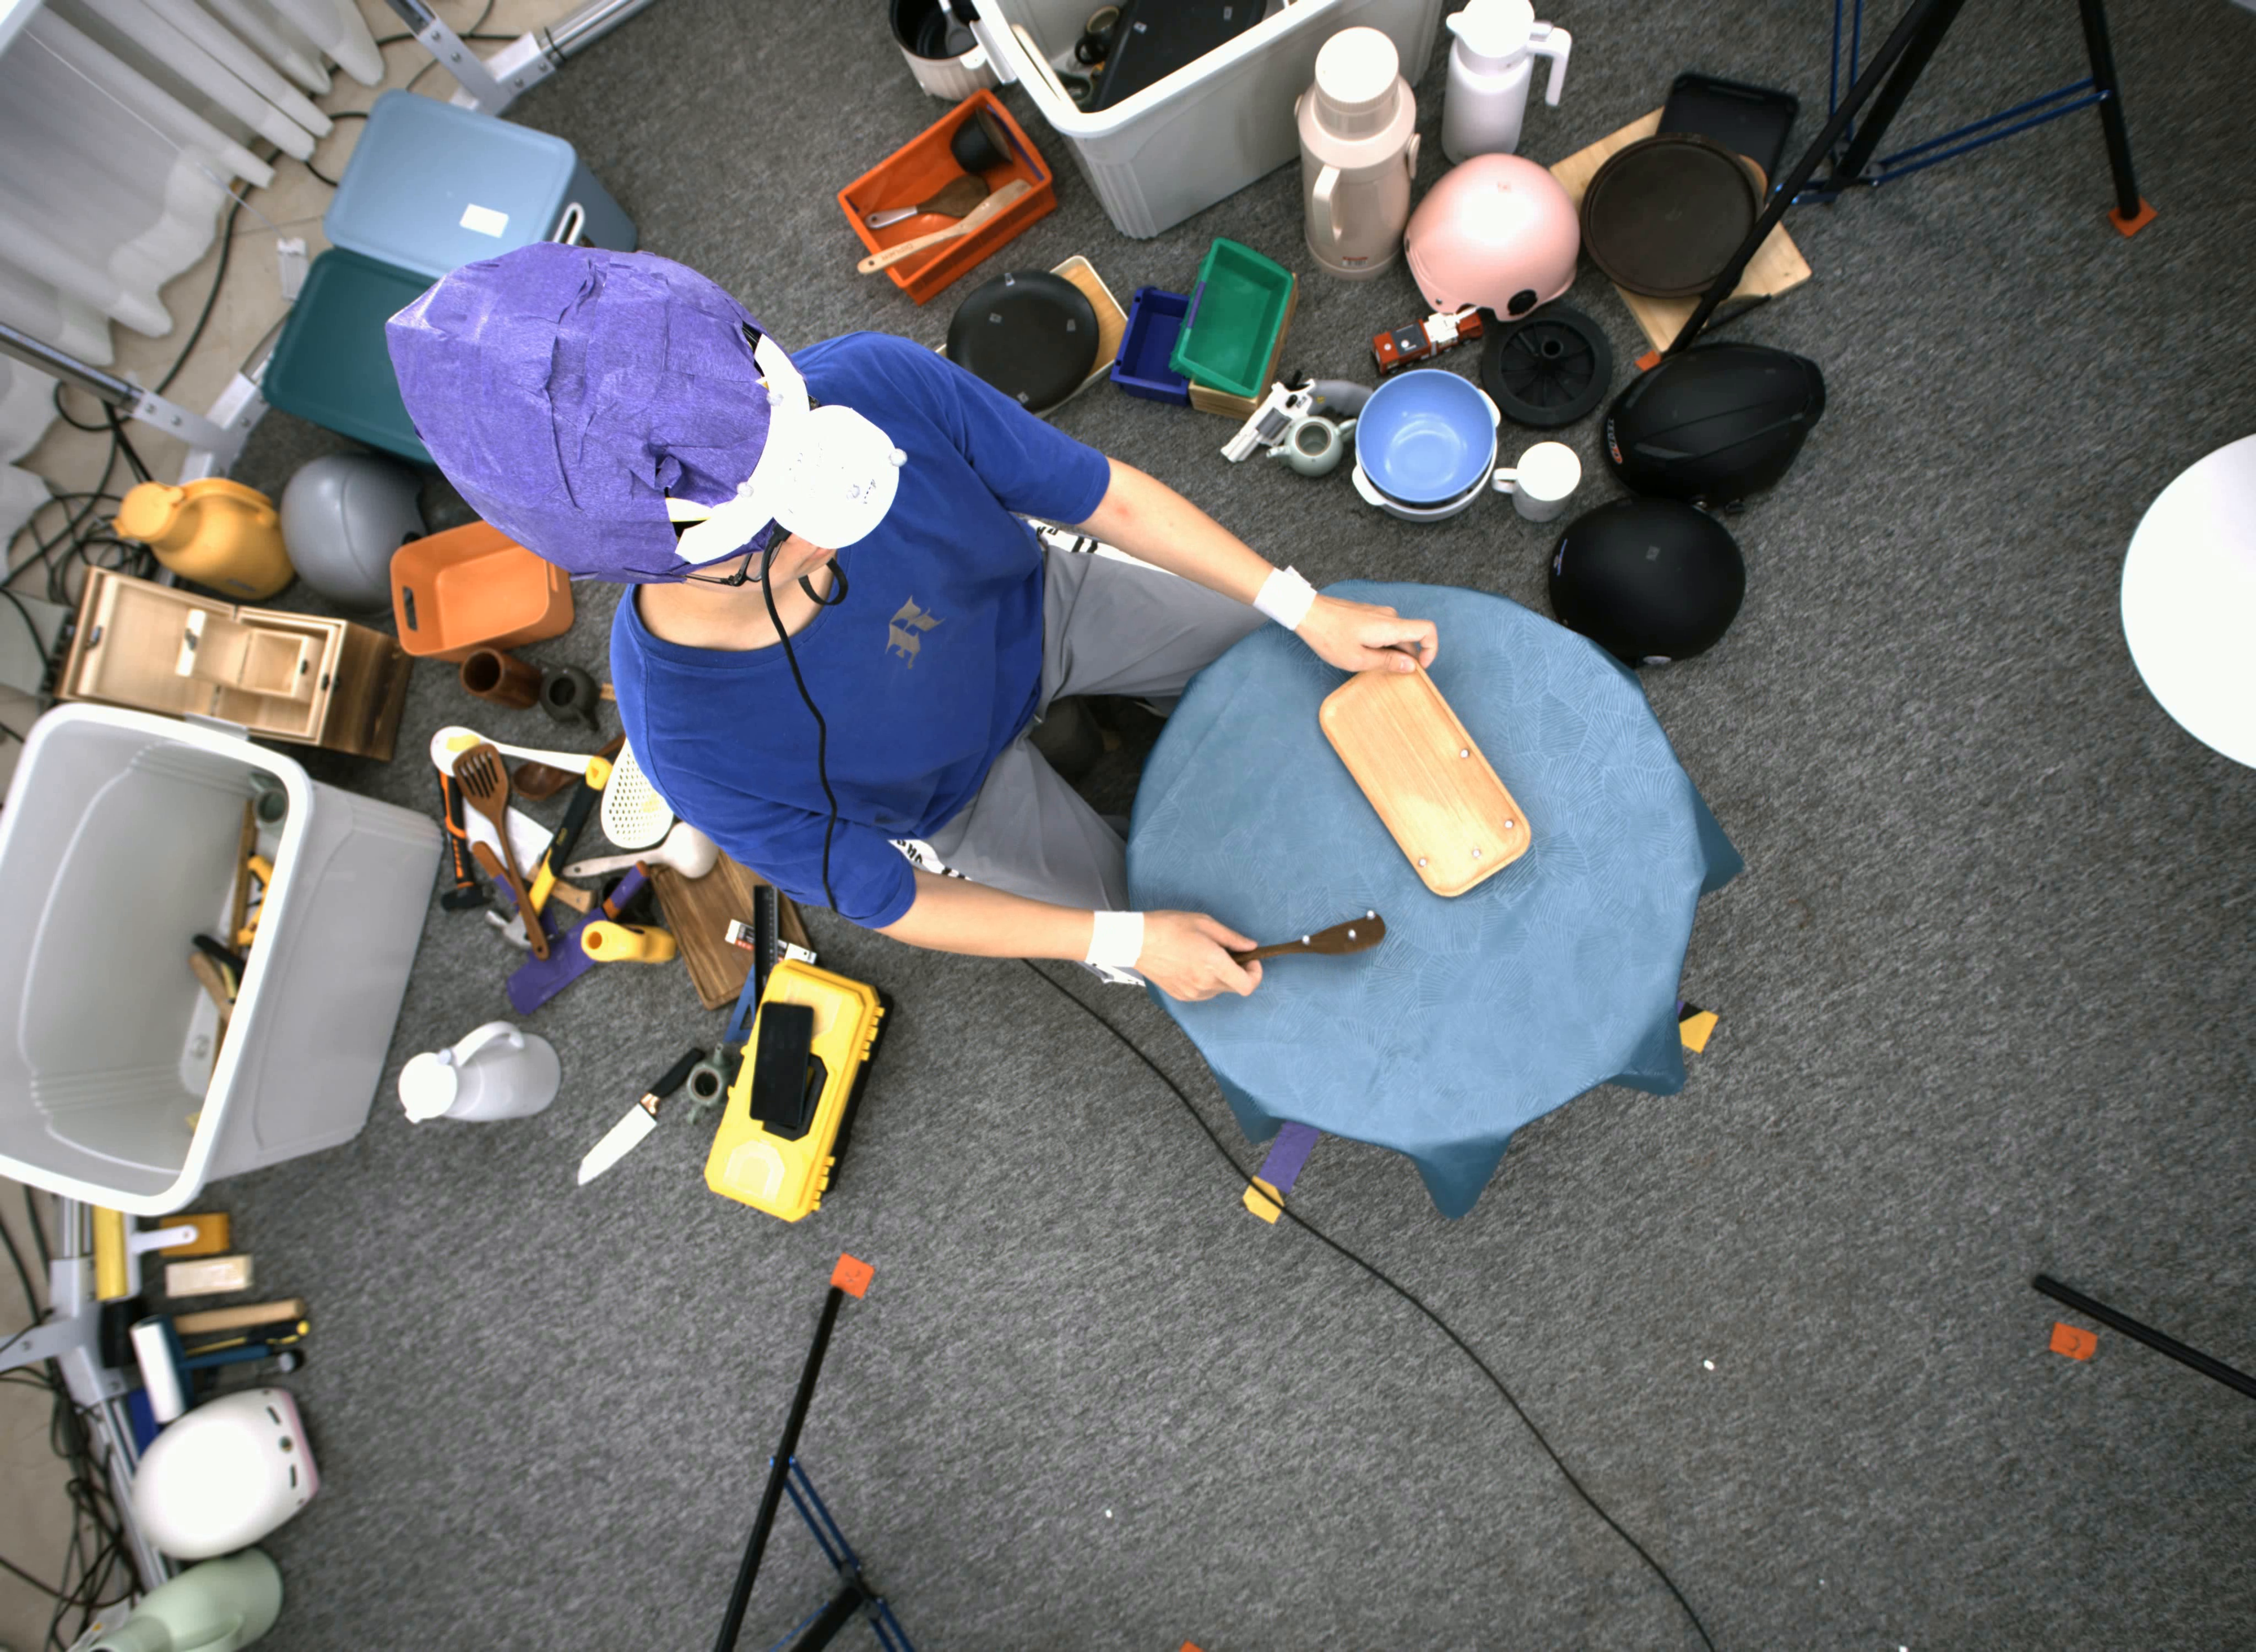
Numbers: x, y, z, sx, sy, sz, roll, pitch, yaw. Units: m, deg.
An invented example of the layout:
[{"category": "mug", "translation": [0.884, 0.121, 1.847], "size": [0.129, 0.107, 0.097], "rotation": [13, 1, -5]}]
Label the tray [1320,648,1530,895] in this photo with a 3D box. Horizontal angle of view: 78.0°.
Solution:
[{"category": "tray", "translation": [0.306, -0.058, 1.424], "size": [0.133, 0.022, 0.249], "rotation": [-35, 82, 30]}]

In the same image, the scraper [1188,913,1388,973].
[{"category": "scraper", "translation": [0.165, 0.128, 1.445], "size": [0.212, 0.074, 0.011], "rotation": [-11, 114, 11]}]
